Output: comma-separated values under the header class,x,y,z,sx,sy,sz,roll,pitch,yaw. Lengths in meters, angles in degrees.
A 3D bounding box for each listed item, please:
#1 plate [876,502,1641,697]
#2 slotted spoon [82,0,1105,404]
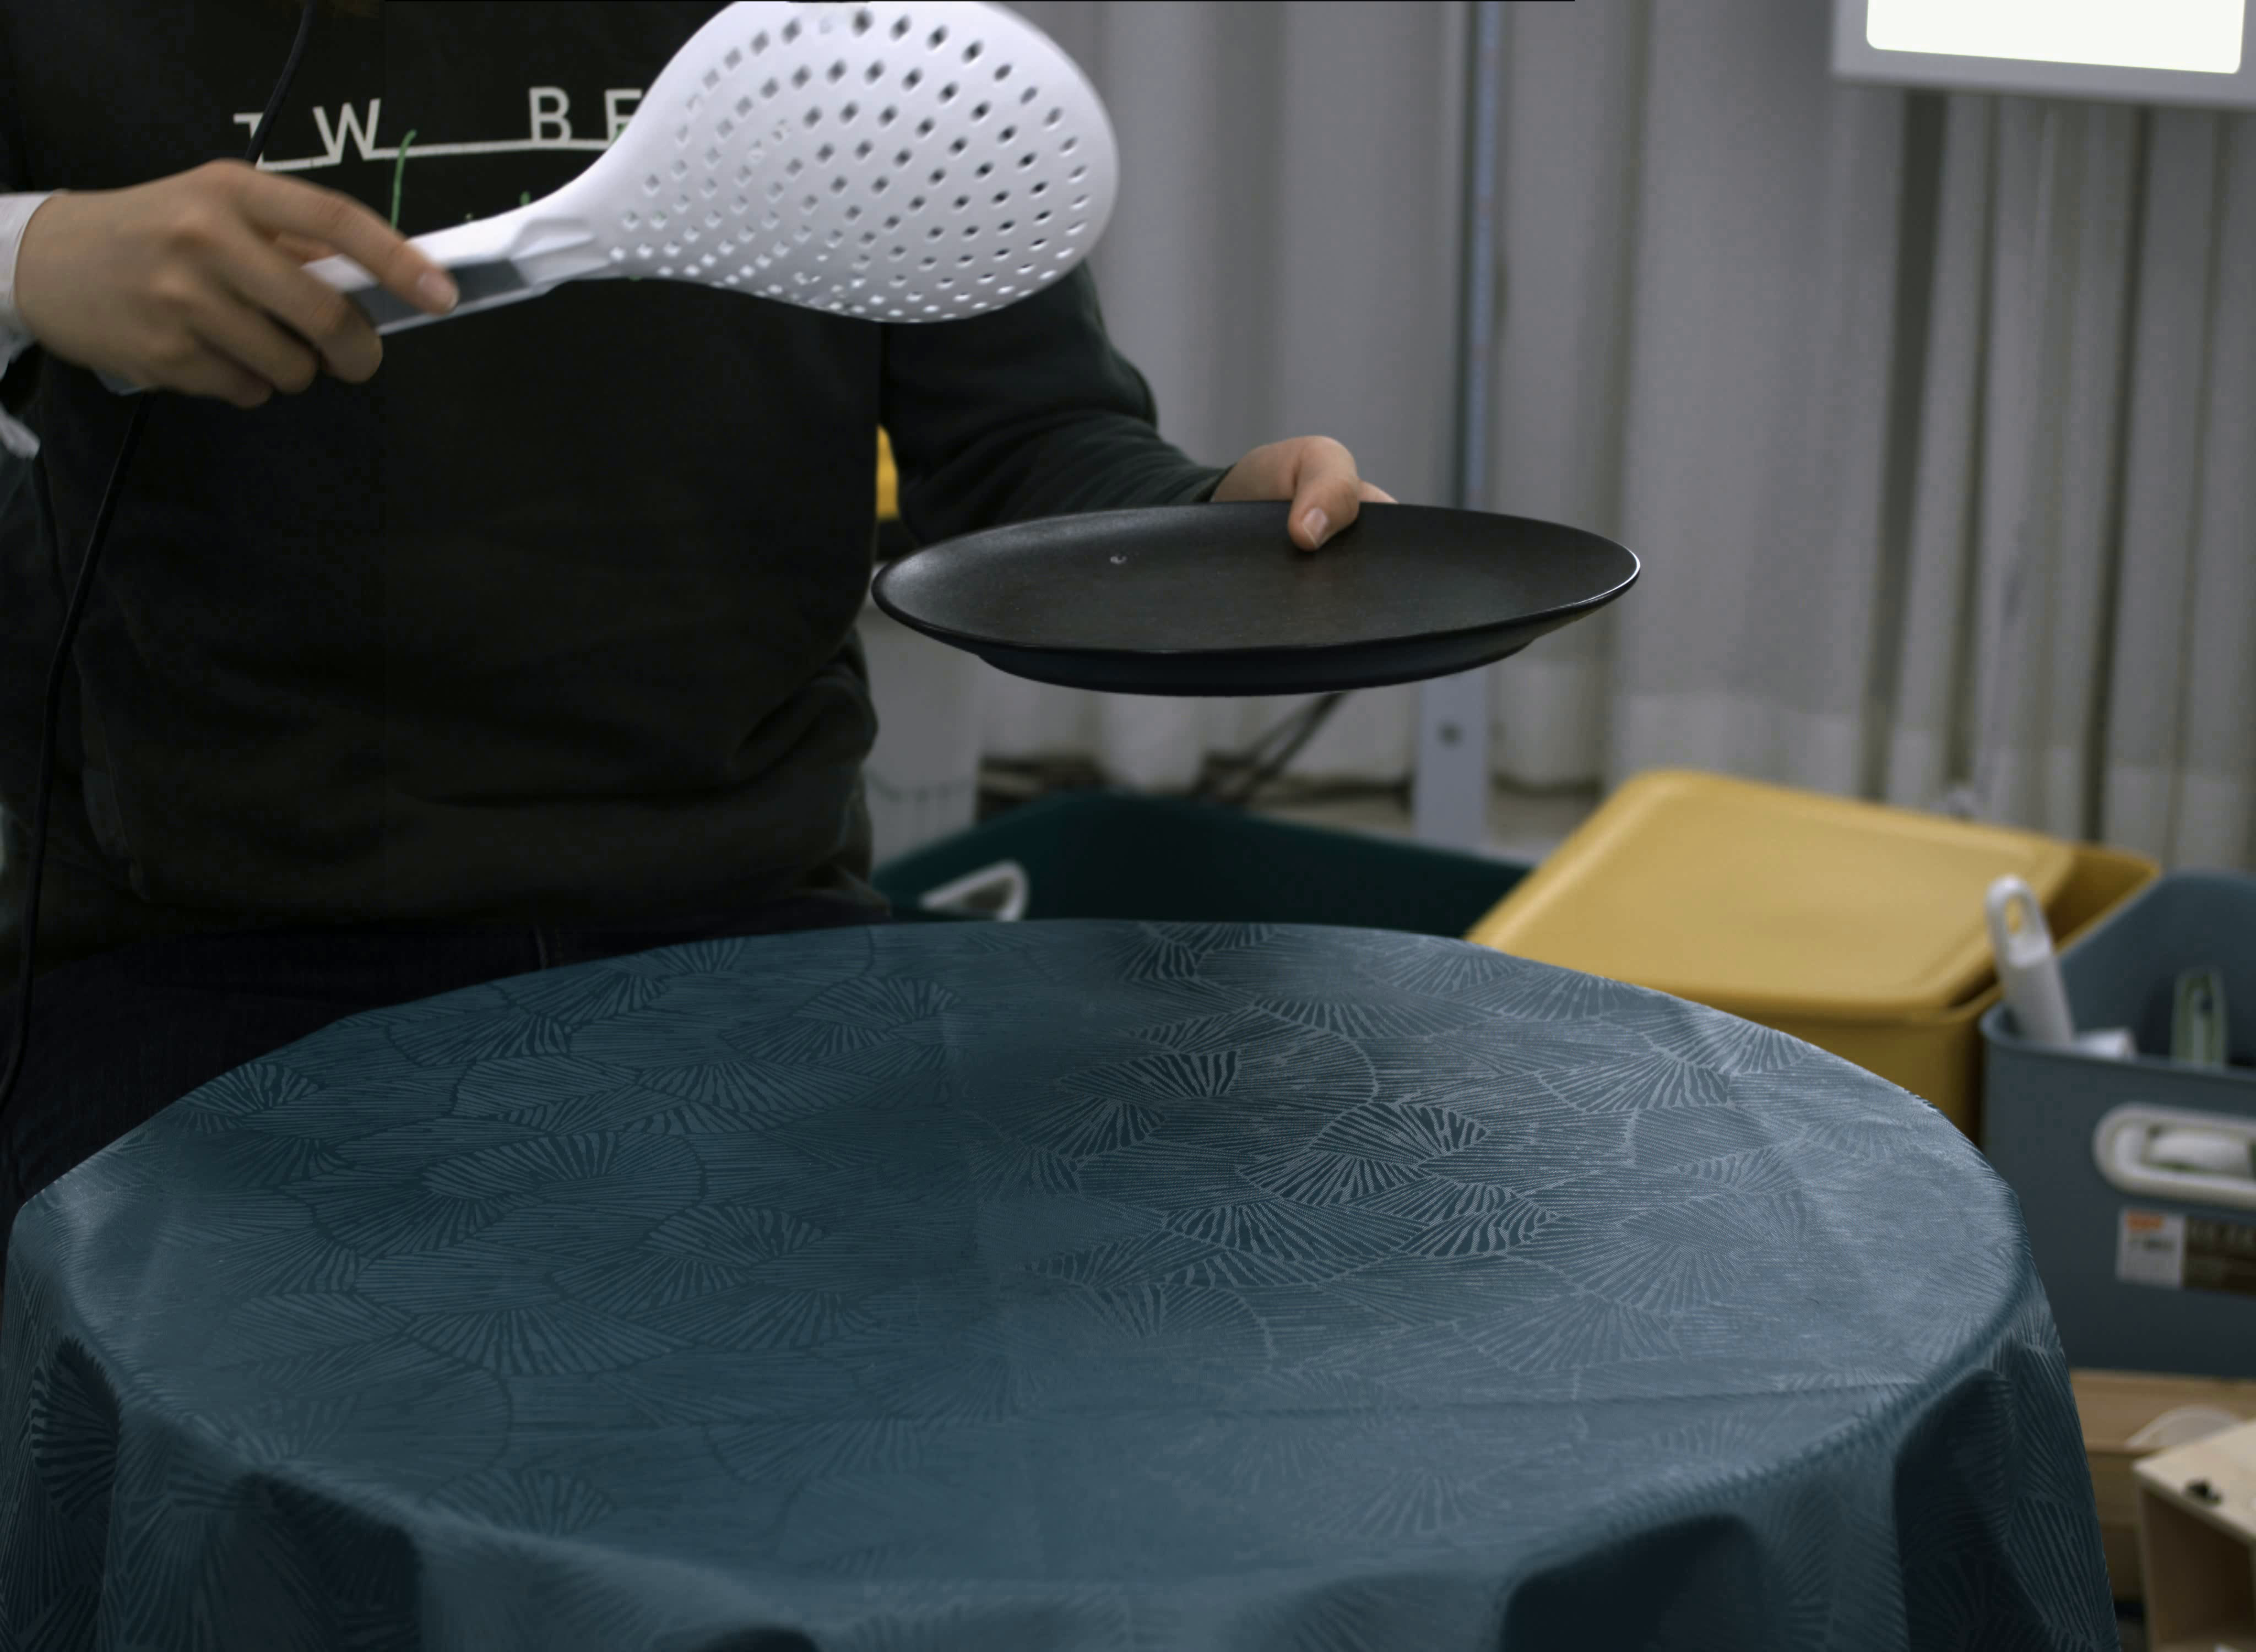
class,x,y,z,sx,sy,sz,roll,pitch,yaw
plate,0.041,-0.071,1.671,0.243,0.023,0.243,-2,14,1
slotted spoon,-0.170,-0.176,1.589,0.346,0.138,0.045,-7,51,27
